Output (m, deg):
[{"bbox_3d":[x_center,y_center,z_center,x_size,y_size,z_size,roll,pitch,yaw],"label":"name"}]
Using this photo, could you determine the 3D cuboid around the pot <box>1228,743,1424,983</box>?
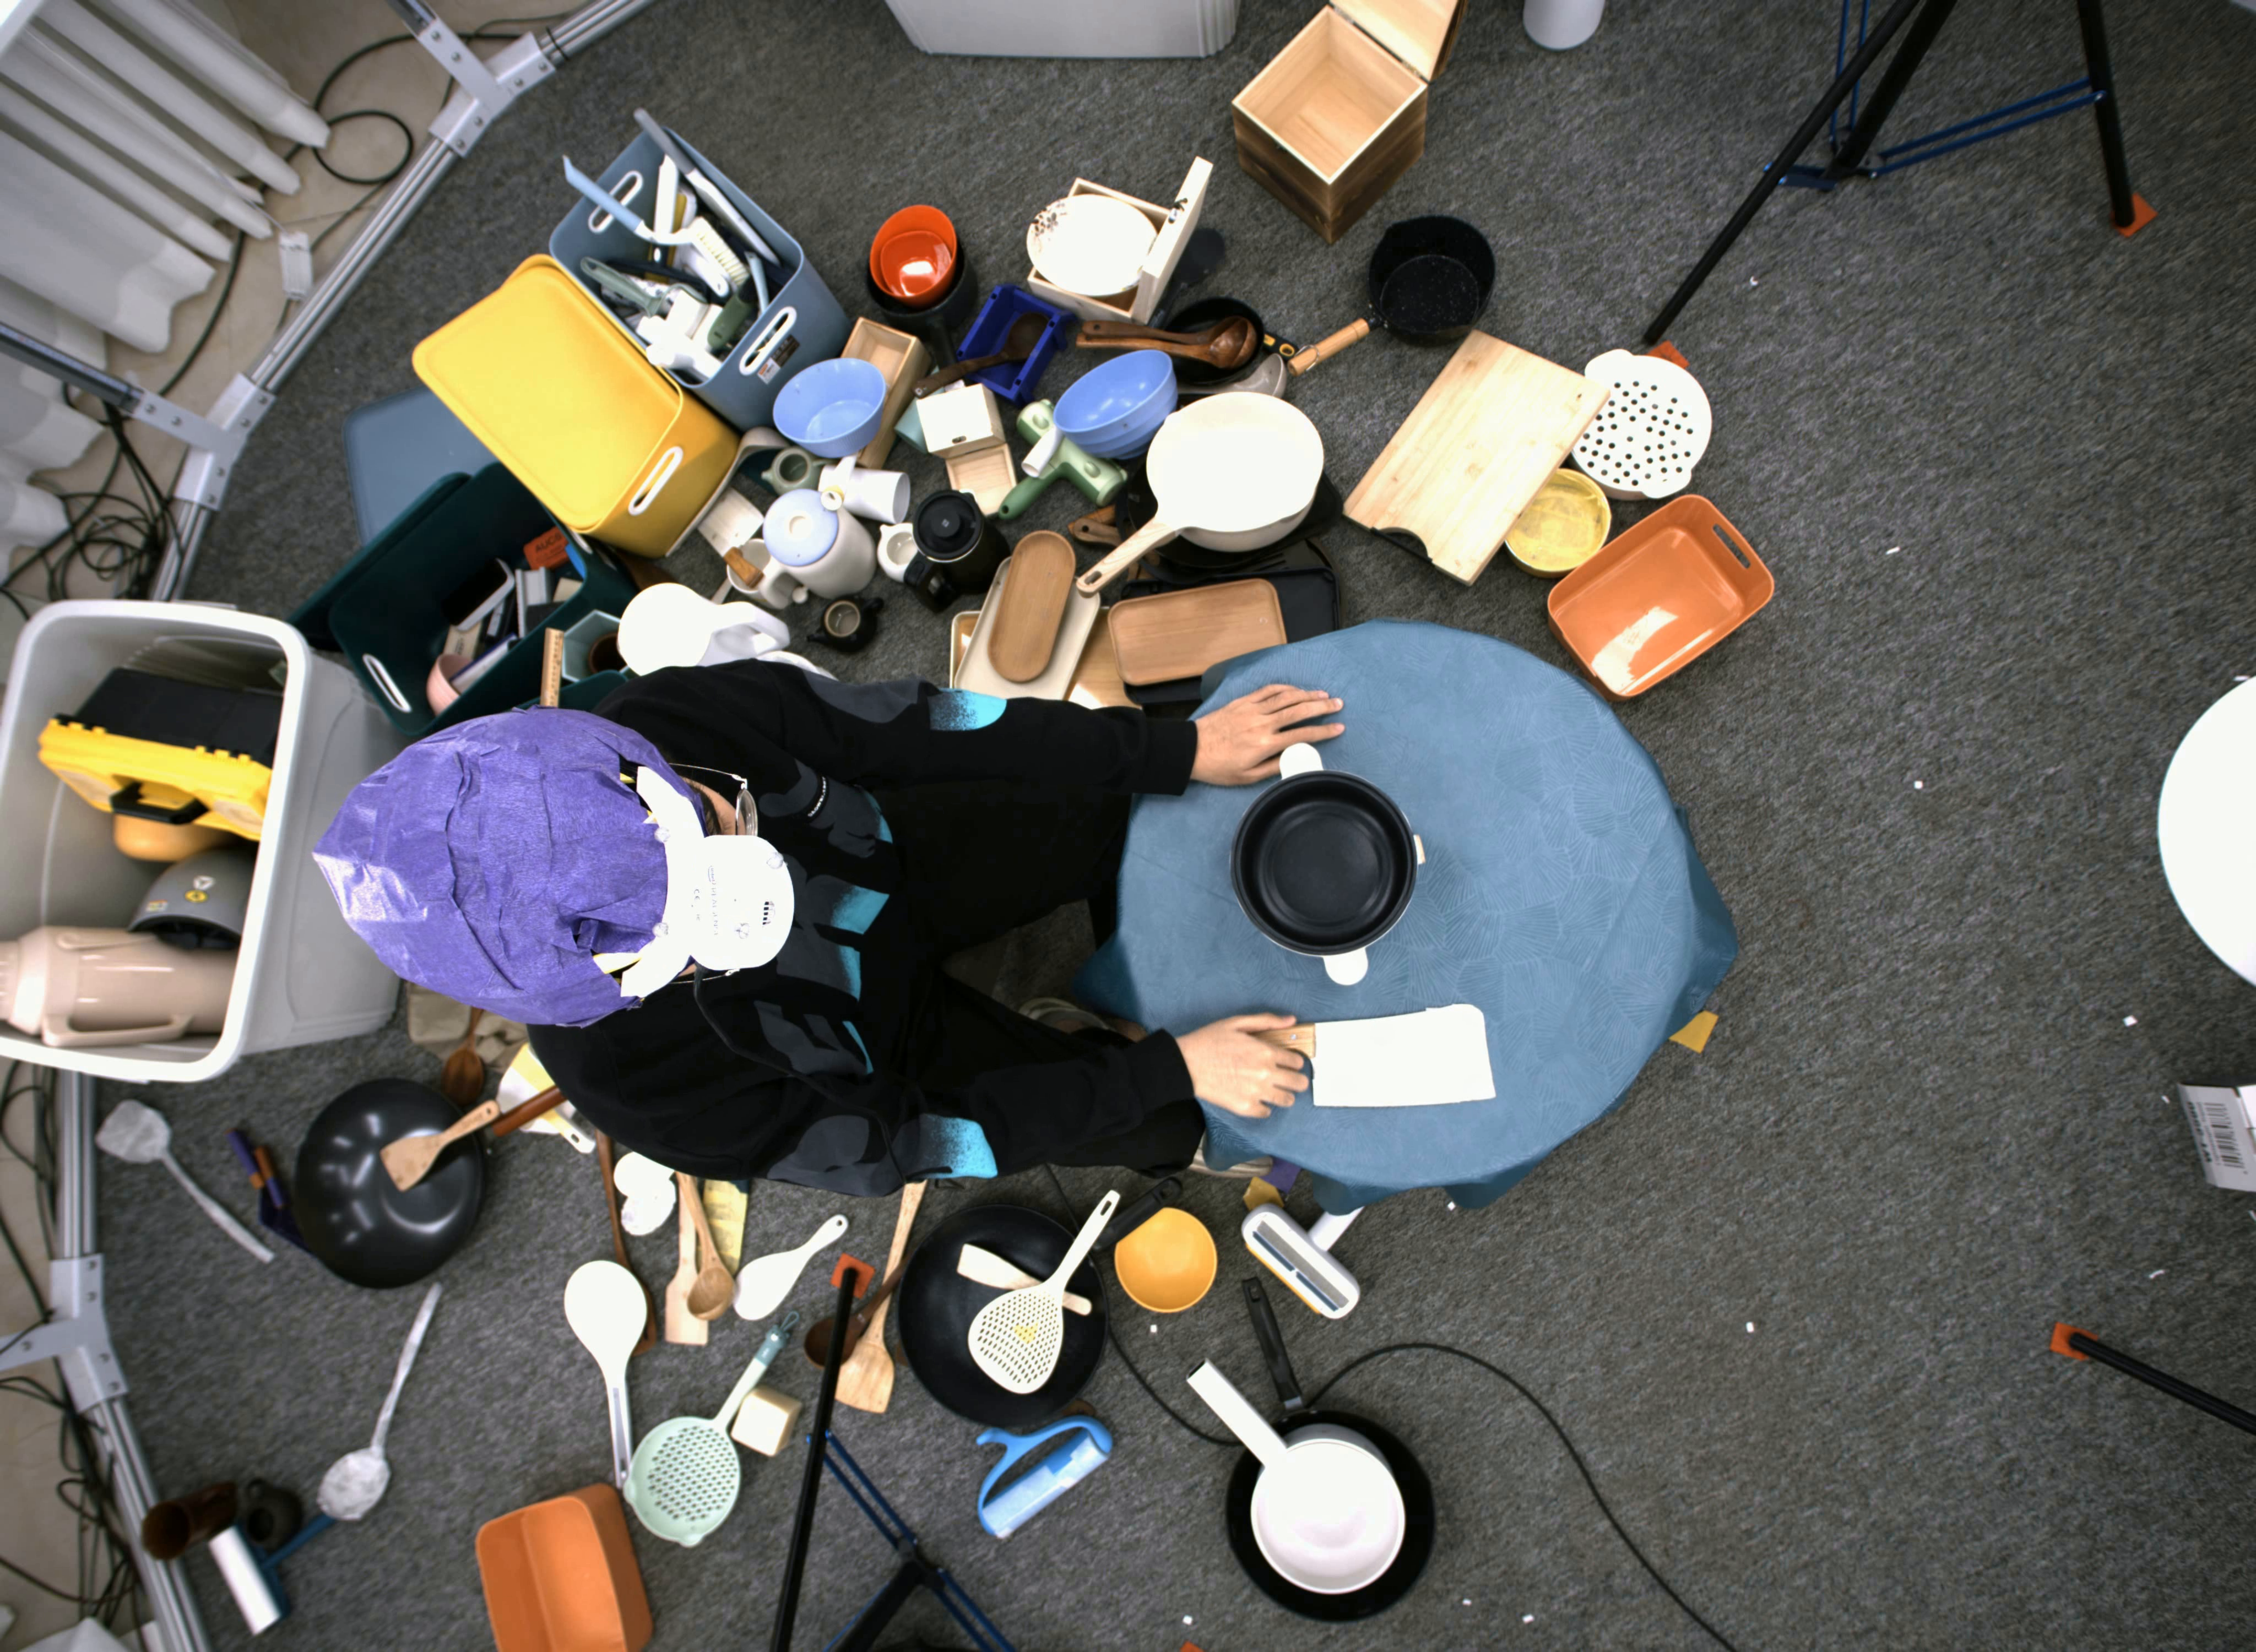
[{"bbox_3d":[0.204,0.038,1.403,0.192,0.142,0.239,-14,85,12],"label":"pot"}]

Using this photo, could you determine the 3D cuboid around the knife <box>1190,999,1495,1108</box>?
[{"bbox_3d":[0.223,0.236,1.450,0.316,0.022,0.113,-1,87,8],"label":"knife"}]
